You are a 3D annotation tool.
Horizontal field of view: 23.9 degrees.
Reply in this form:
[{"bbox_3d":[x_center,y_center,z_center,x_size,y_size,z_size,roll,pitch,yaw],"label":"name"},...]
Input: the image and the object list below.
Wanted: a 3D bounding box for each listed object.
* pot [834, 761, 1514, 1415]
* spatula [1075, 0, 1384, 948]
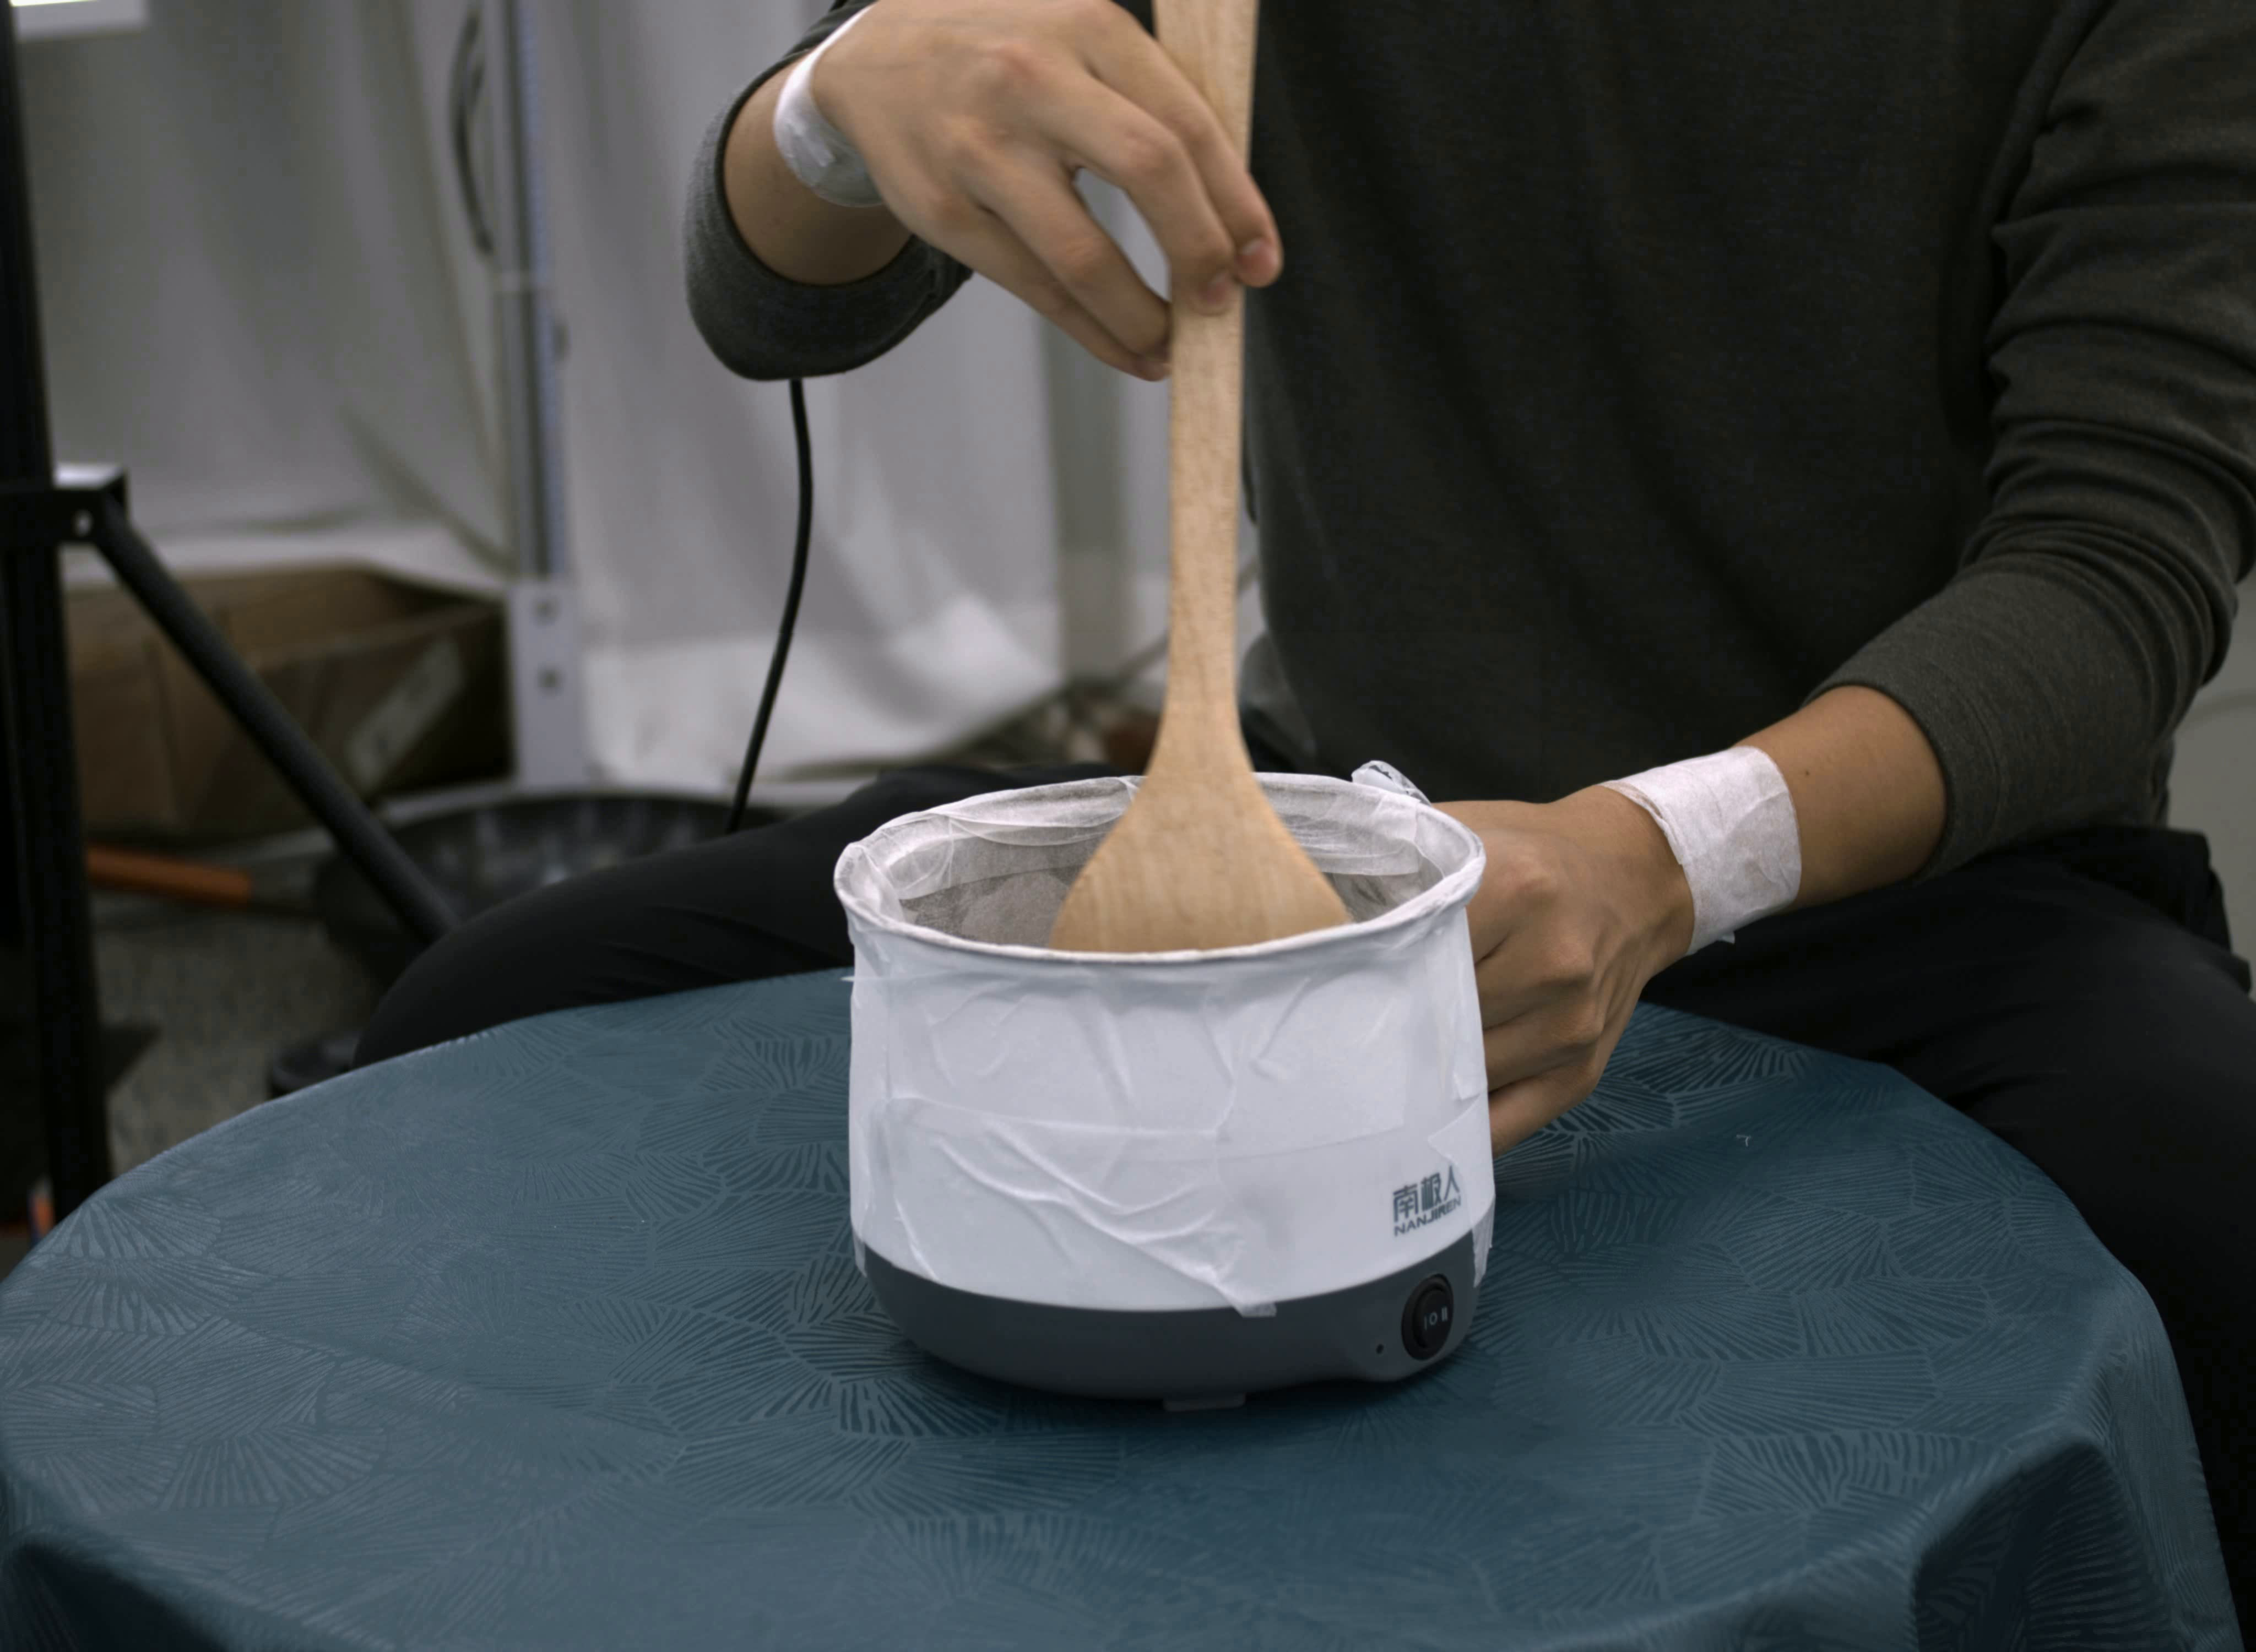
[{"bbox_3d":[0.028,0.064,1.464,0.182,0.136,0.229,10,20,38],"label":"pot"},{"bbox_3d":[0.031,-0.100,1.419,0.096,0.393,0.018,0,-1,15],"label":"spatula"}]
